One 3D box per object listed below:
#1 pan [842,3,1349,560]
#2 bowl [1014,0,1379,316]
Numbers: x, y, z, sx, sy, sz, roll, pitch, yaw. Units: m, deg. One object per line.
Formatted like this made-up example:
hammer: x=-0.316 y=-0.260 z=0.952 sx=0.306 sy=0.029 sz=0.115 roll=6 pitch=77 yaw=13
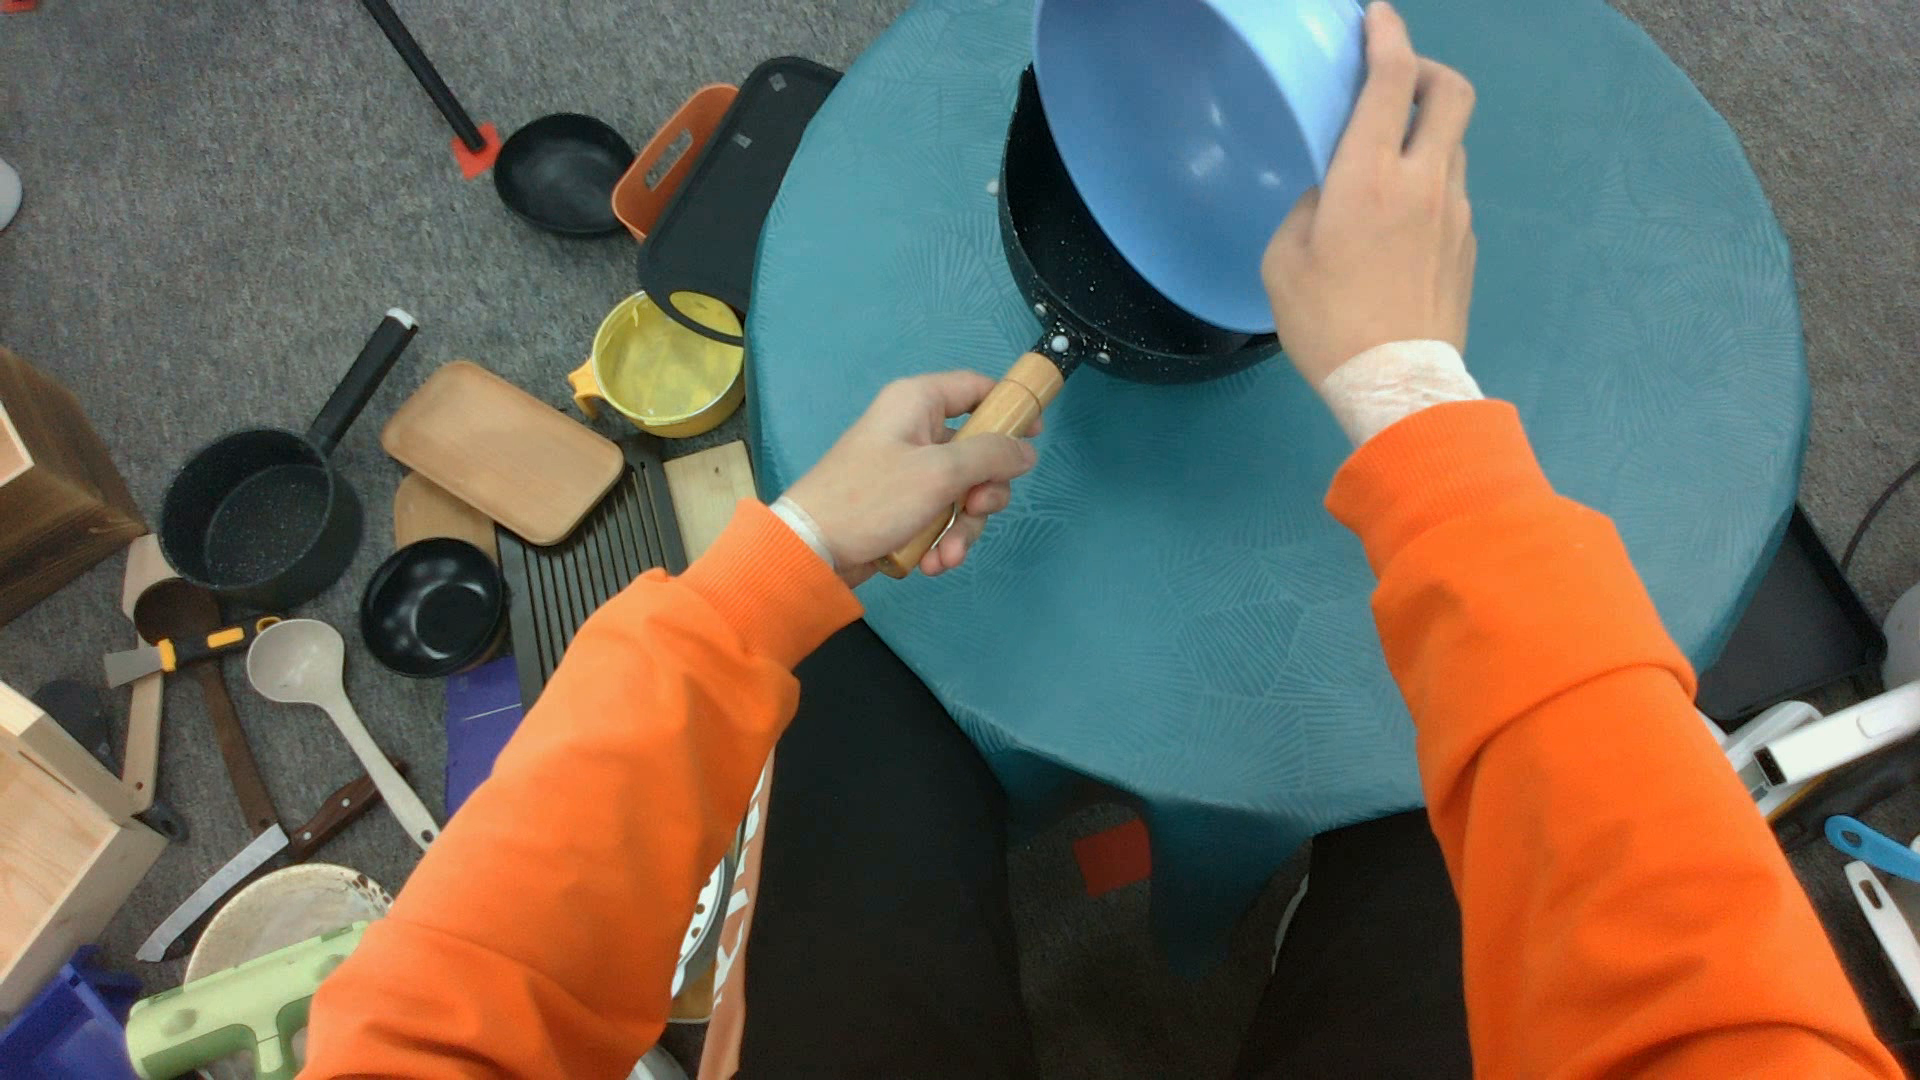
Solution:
pan: x=0.055 y=-0.115 z=0.693 sx=0.207 sy=0.108 sz=0.343 roll=36 pitch=75 yaw=3
bowl: x=0.125 y=-0.215 z=0.654 sx=0.096 sy=0.195 sz=0.196 roll=-35 pitch=72 yaw=-20
